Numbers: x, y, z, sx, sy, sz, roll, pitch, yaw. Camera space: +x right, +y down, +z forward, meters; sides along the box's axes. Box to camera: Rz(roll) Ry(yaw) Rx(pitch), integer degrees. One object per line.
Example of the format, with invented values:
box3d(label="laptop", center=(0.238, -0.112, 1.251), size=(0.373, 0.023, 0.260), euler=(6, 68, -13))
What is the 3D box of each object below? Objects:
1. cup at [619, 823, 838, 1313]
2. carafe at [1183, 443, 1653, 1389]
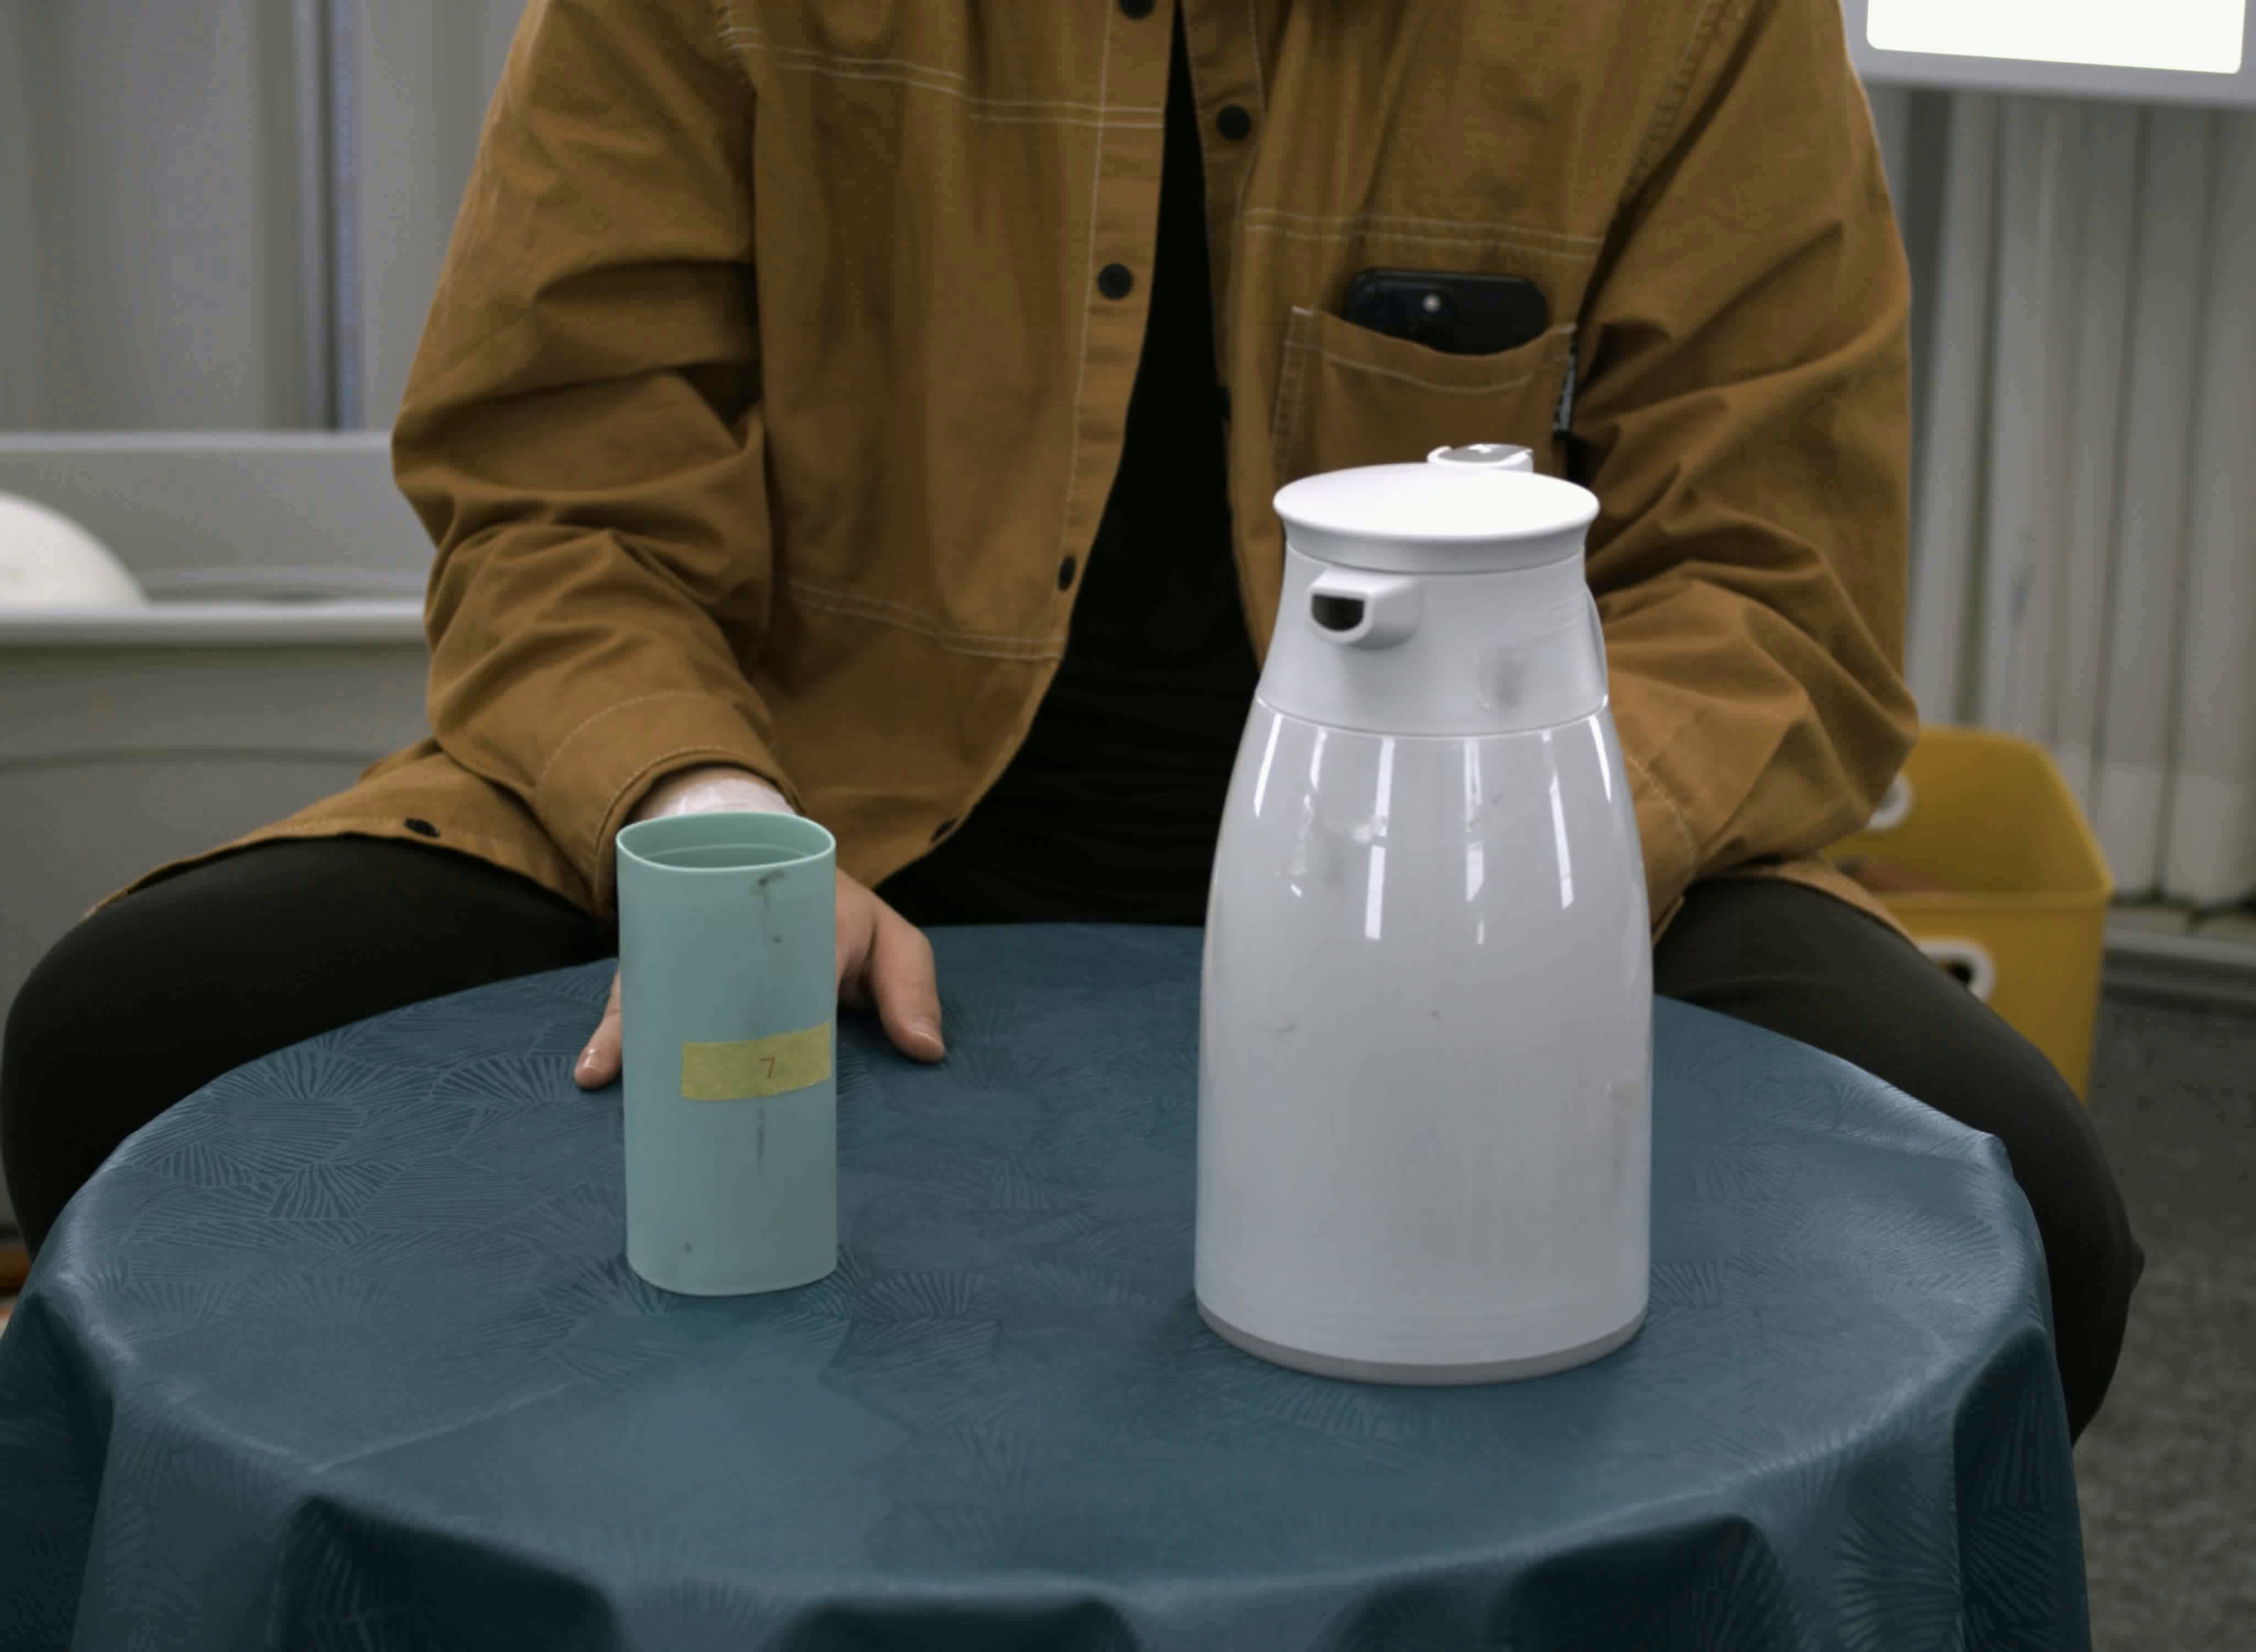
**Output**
box3d(label="cup", center=(-0.117, 0.069, 1.542), size=(0.066, 0.133, 0.066), euler=(1, 16, 0))
box3d(label="carafe", center=(0.094, 0.016, 1.511), size=(0.131, 0.250, 0.168), euler=(10, 18, 26))
